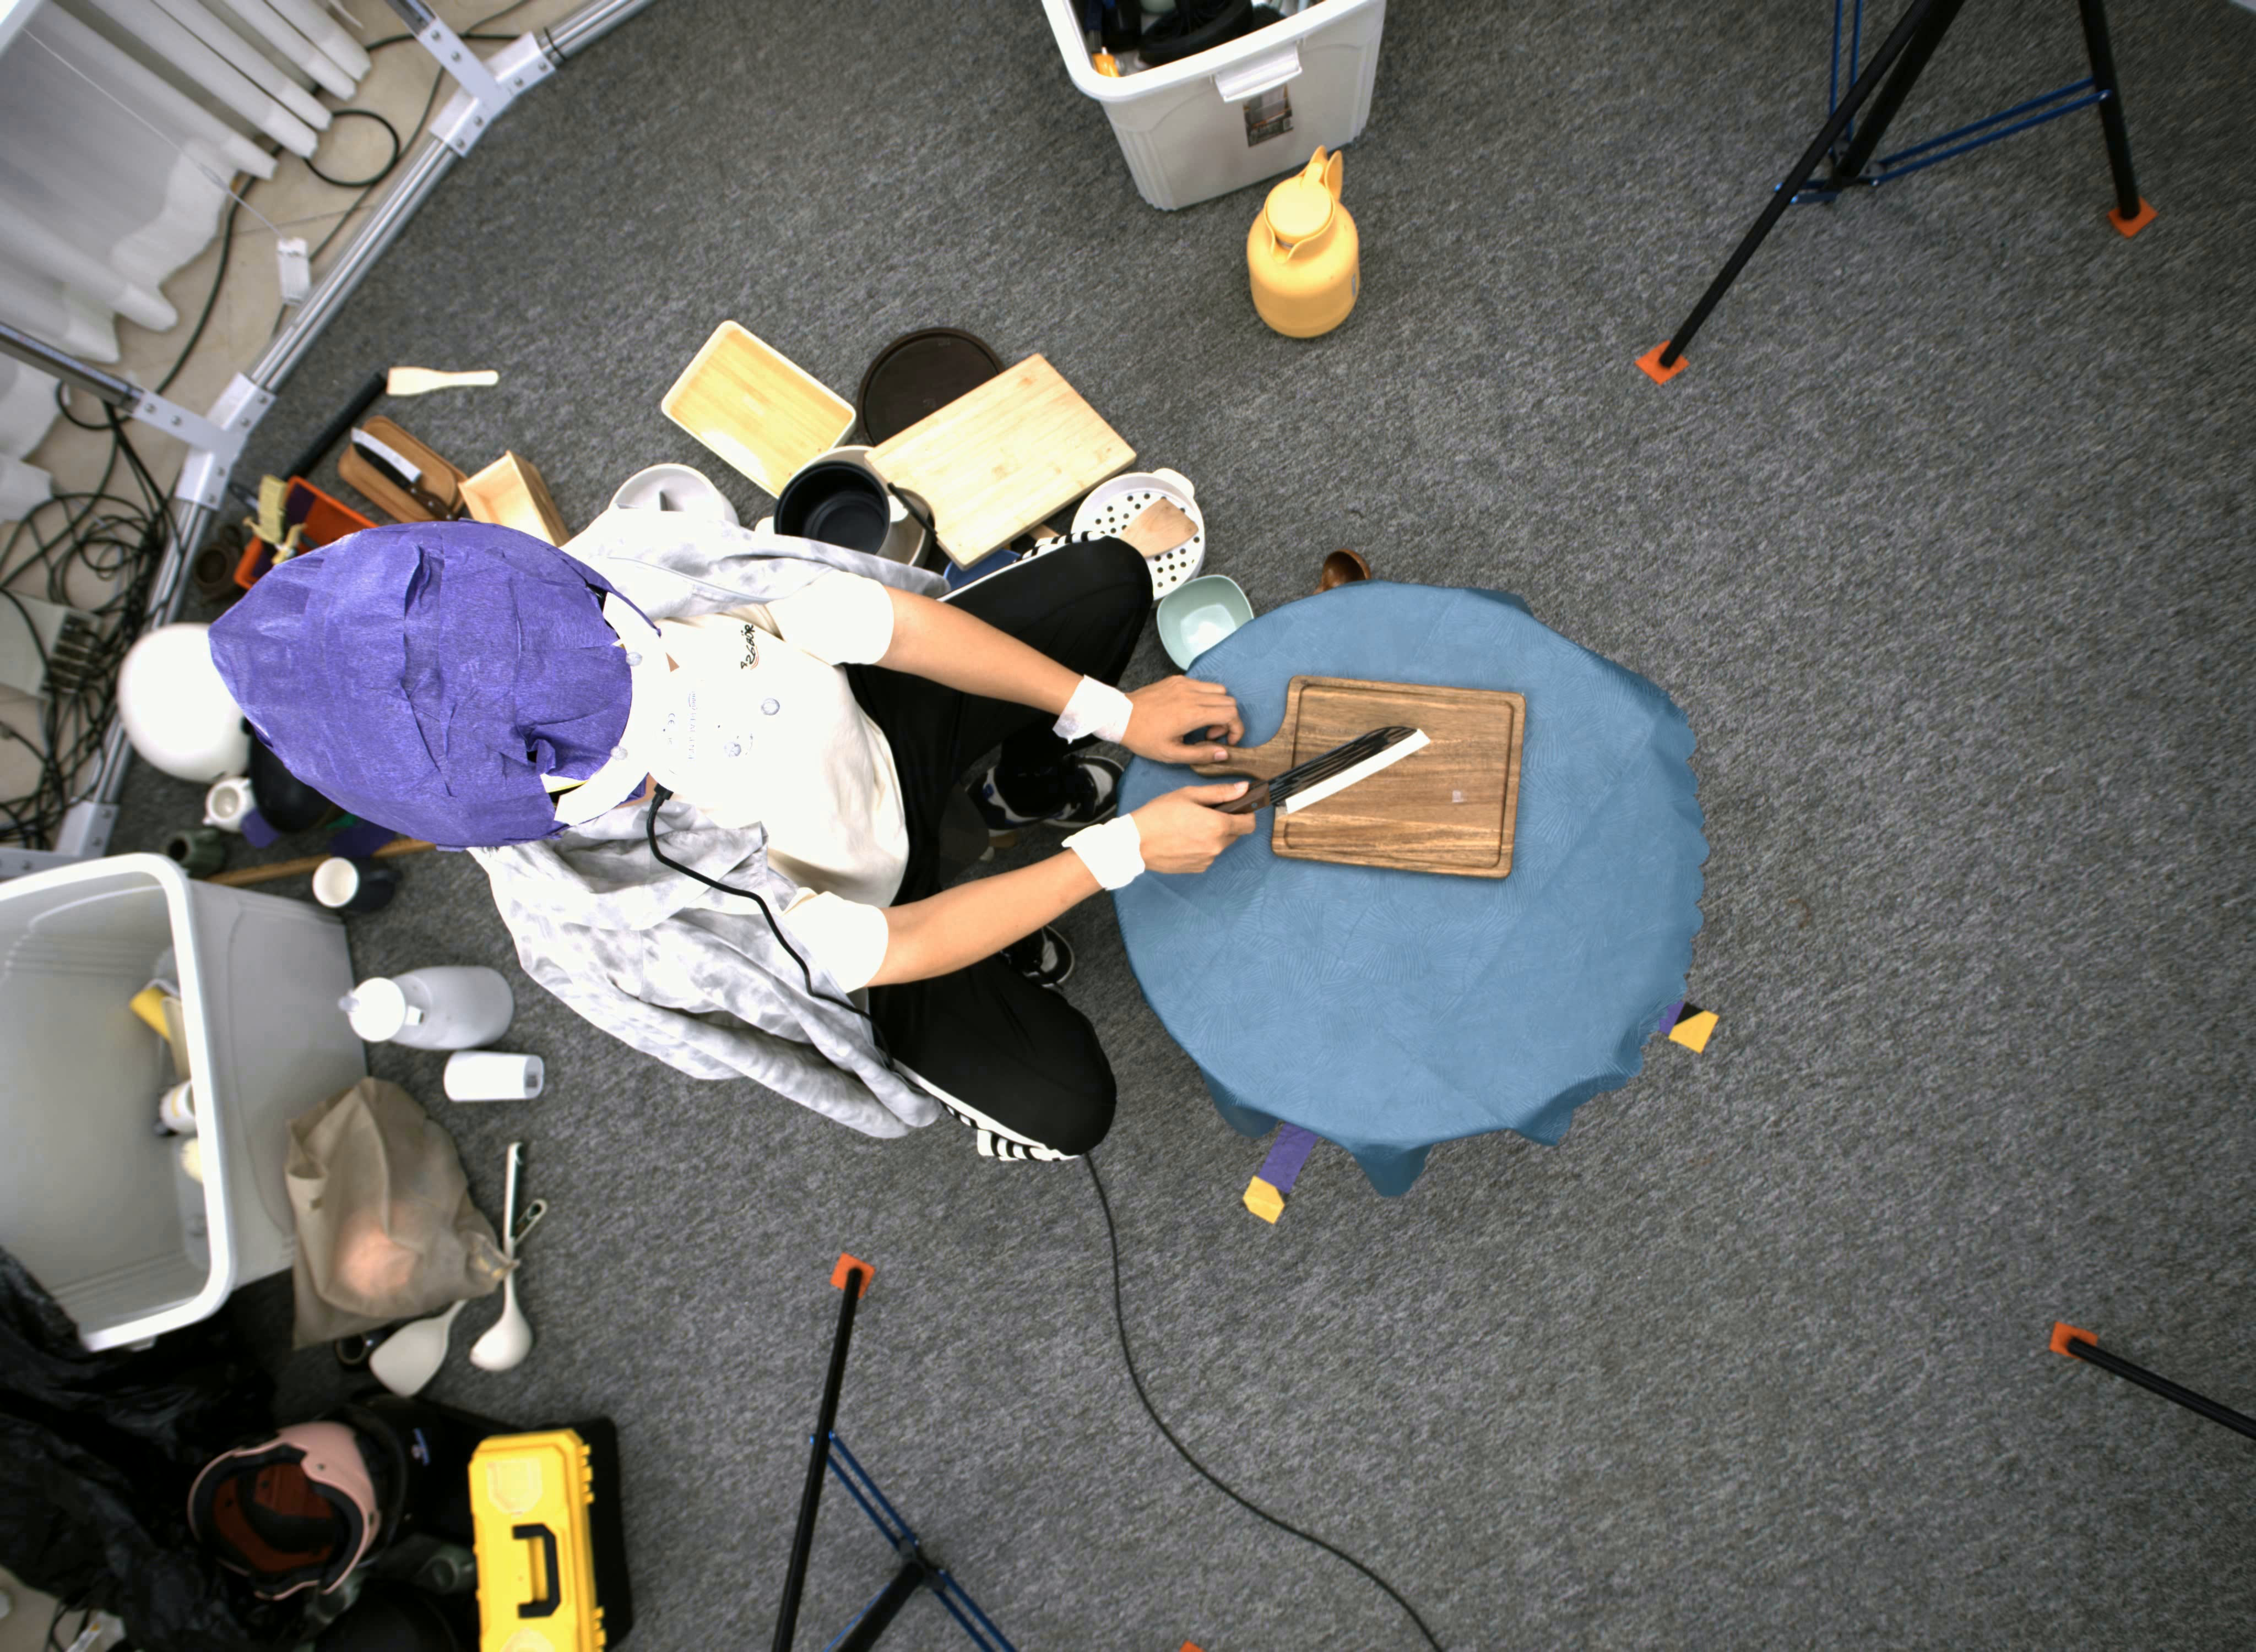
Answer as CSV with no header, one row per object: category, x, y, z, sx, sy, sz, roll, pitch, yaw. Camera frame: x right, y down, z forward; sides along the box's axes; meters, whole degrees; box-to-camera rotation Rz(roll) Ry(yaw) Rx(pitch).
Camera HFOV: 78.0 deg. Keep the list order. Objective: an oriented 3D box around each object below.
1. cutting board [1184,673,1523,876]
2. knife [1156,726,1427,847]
cutting board,0.234,-0.061,1.462,0.353,0.023,0.200,6,88,11
knife,0.172,-0.039,1.431,0.300,0.069,0.023,-25,52,4
